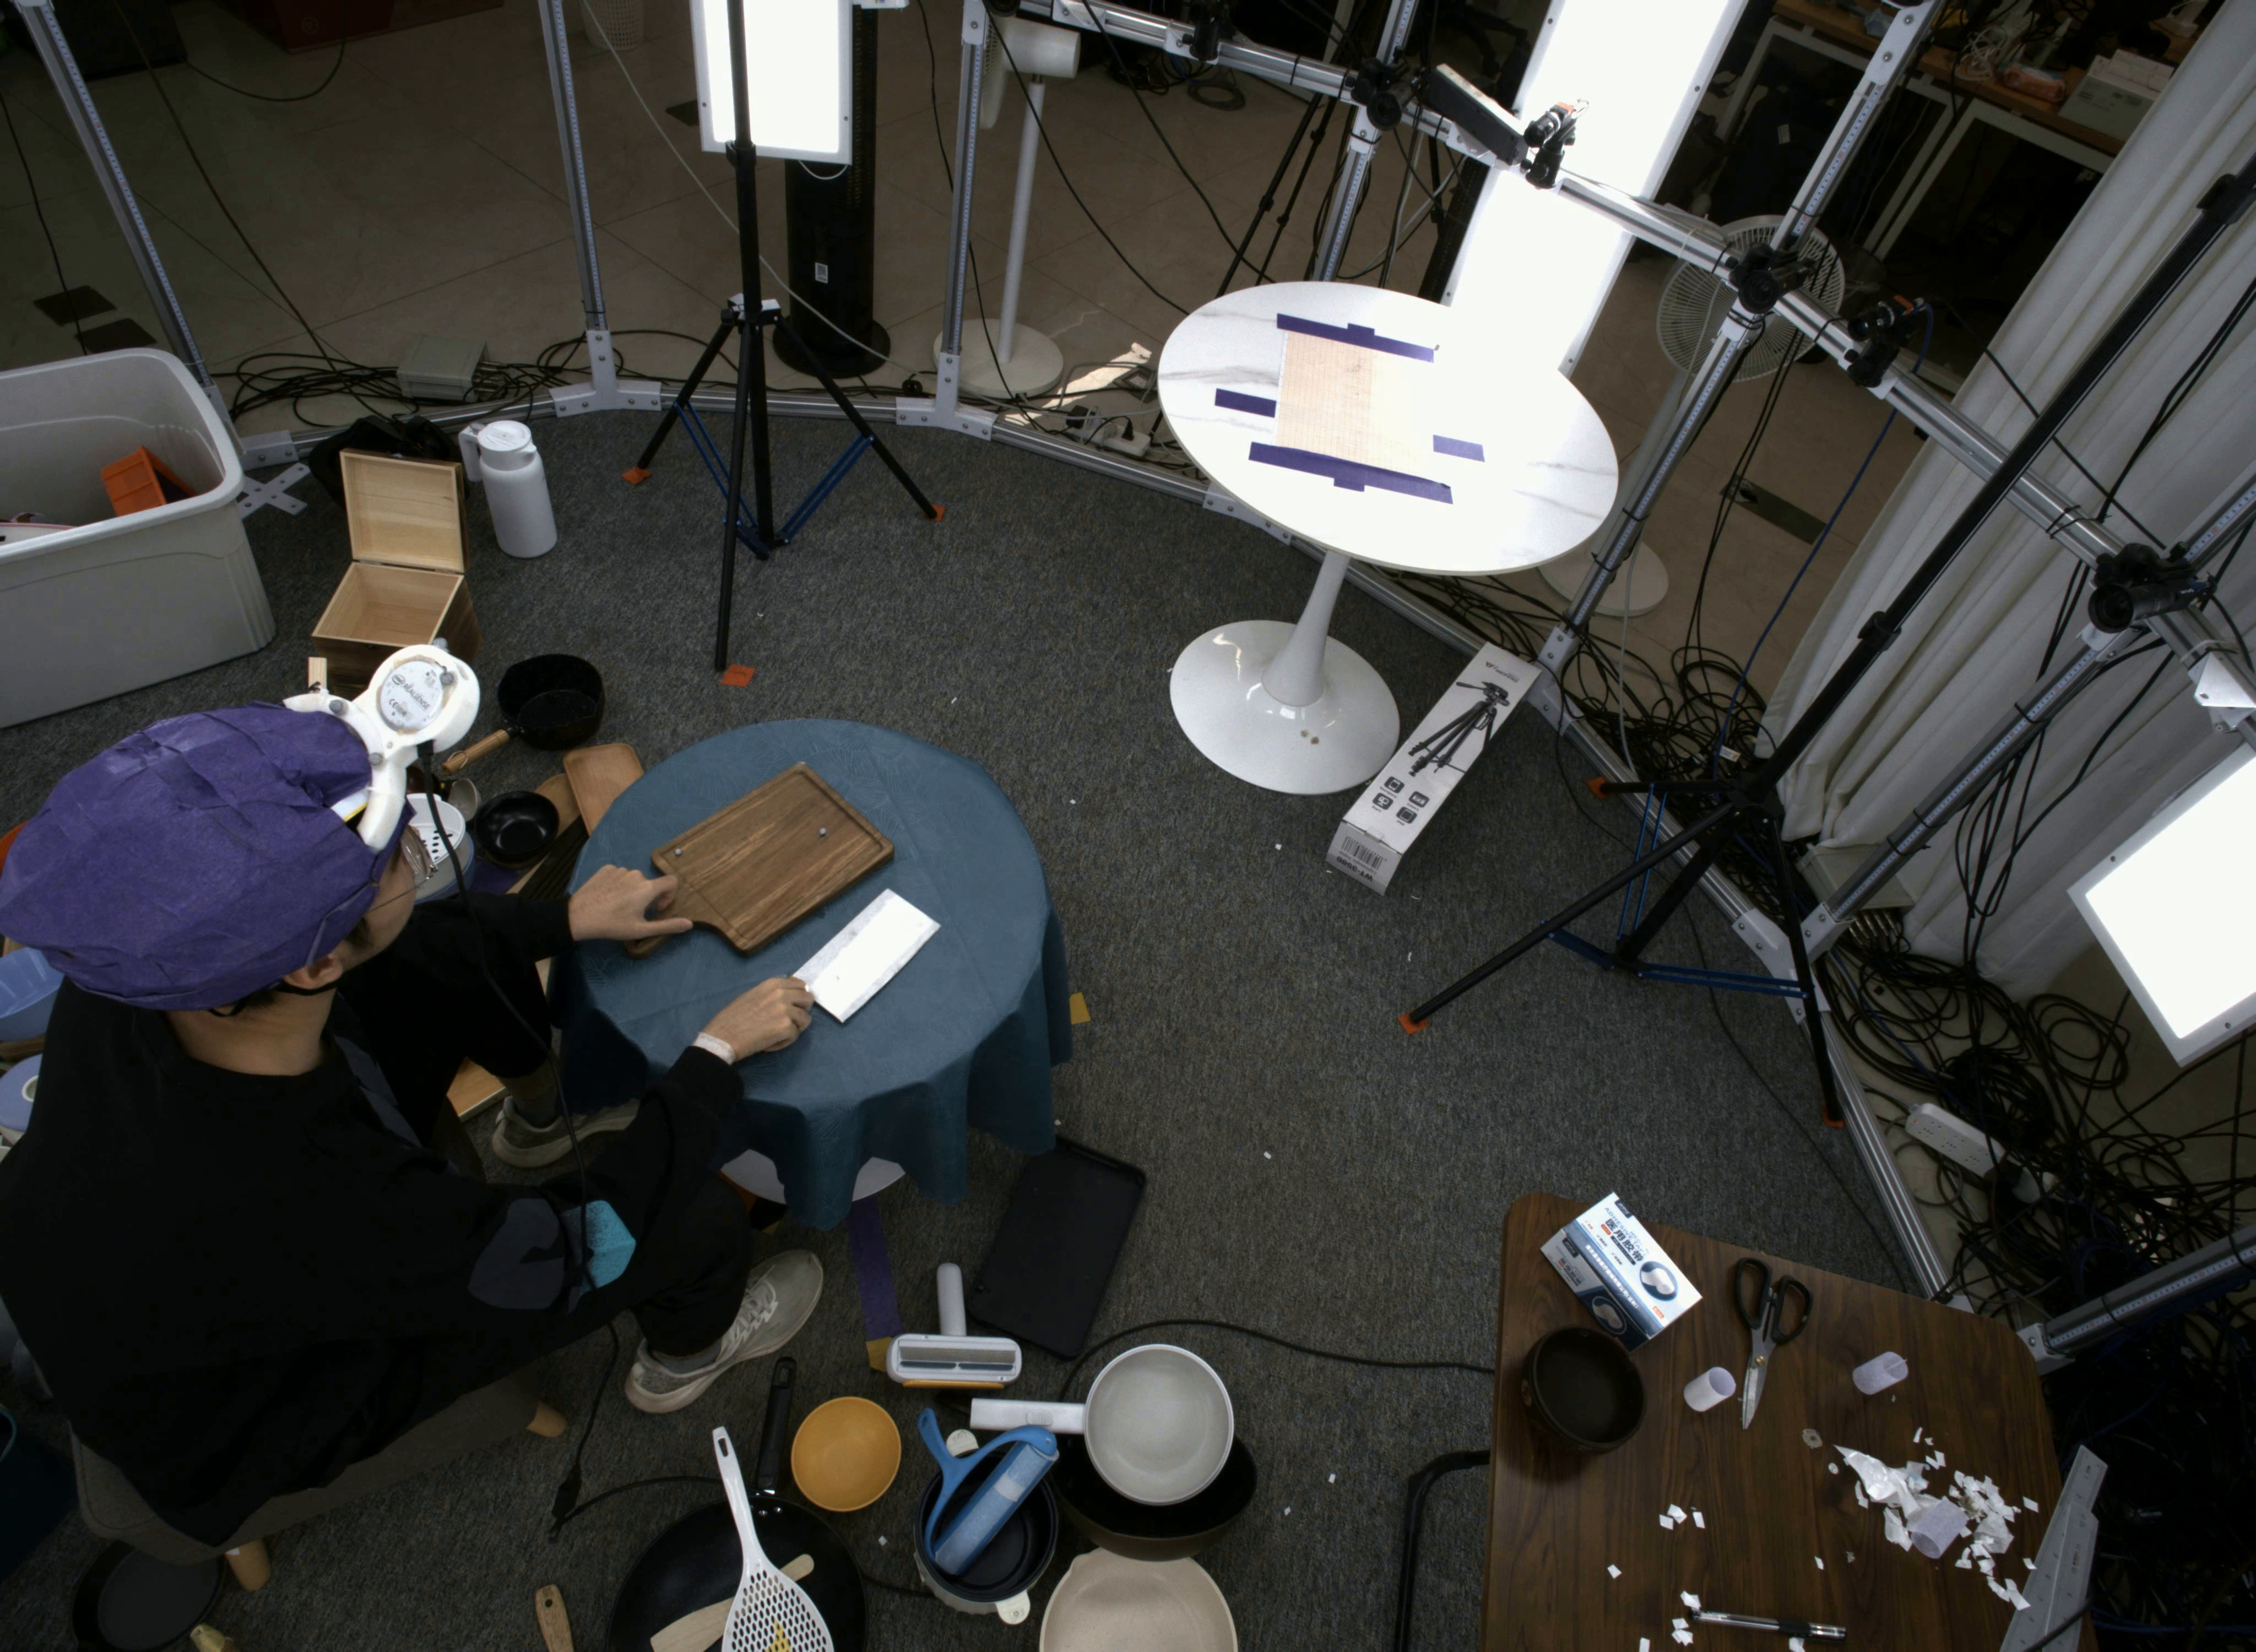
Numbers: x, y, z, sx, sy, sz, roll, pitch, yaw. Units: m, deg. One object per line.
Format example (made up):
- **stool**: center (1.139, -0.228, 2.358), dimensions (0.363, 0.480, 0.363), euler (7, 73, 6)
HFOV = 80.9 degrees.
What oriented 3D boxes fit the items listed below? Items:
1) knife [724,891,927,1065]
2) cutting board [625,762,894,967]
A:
- **knife**: center (-0.357, 0.189, 1.580), dimensions (0.091, 0.021, 0.305), euler (35, 50, 10)
- **cutting board**: center (-0.488, 0.063, 1.636), dimensions (0.197, 0.023, 0.352), euler (40, 54, 16)
